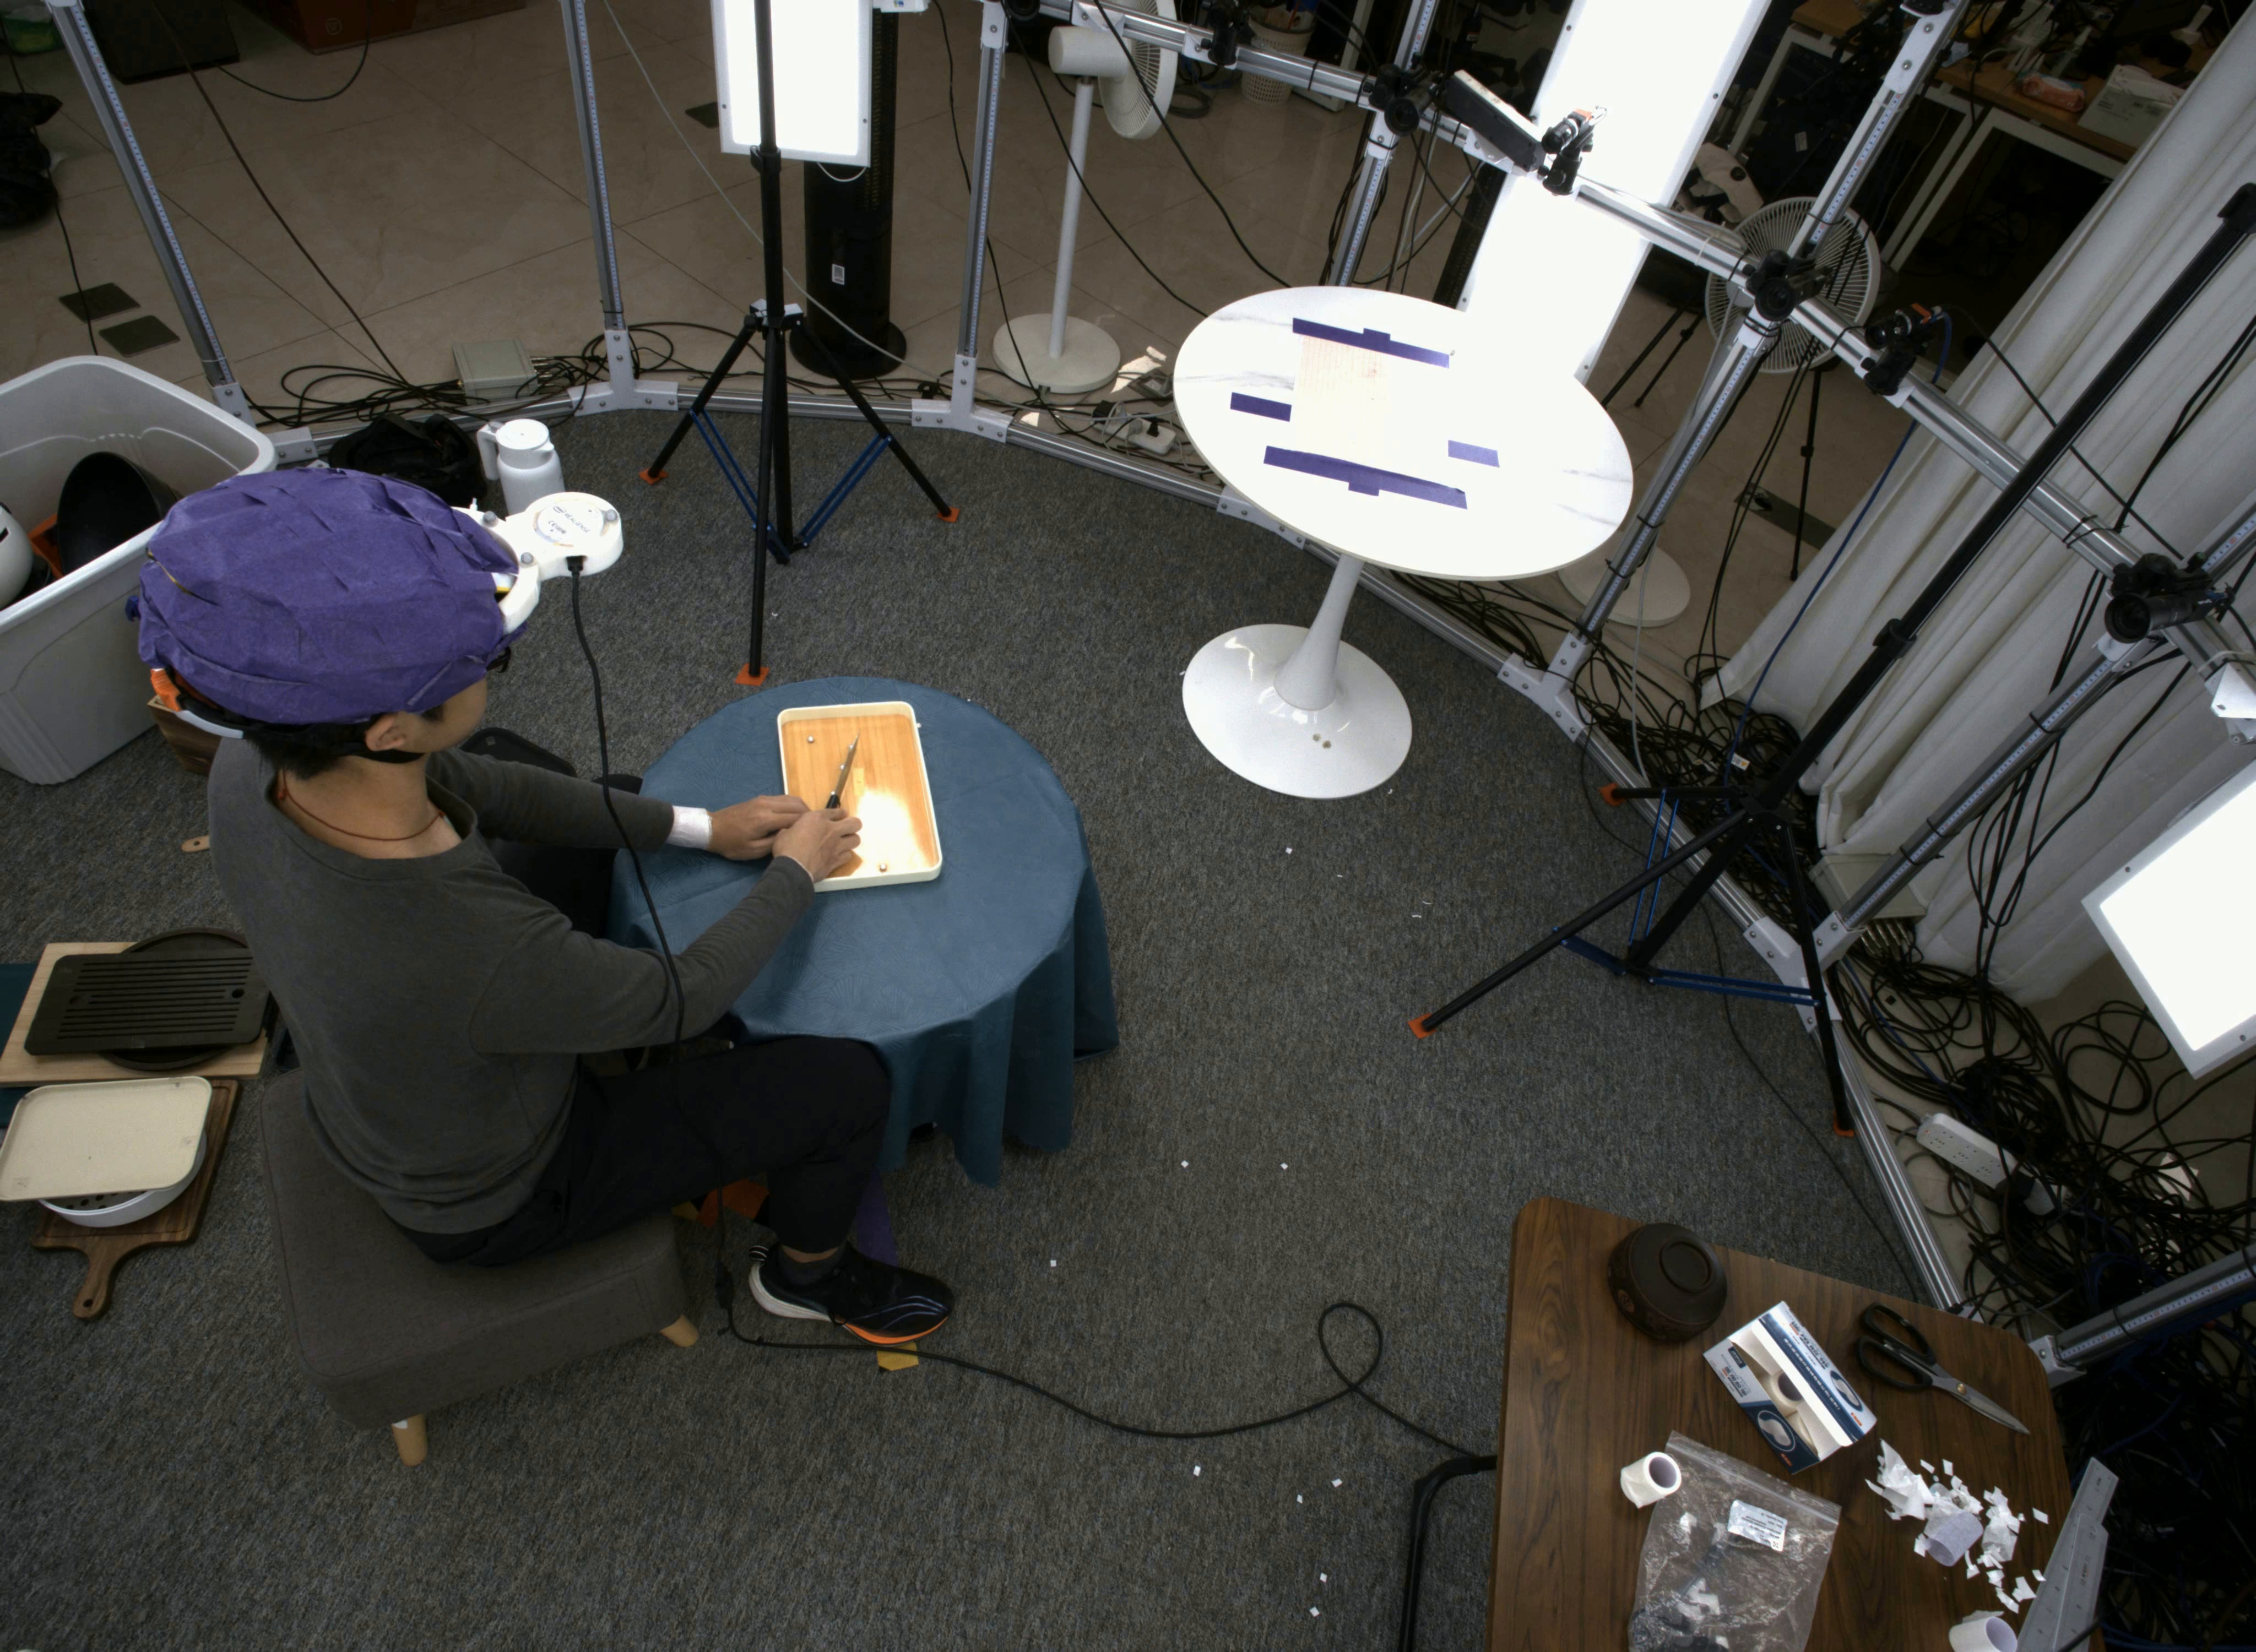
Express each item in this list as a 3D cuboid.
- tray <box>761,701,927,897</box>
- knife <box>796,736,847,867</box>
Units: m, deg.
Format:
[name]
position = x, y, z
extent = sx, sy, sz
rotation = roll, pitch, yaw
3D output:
[tray]
position = -0.388, -0.044, 1.760
extent = 0.192, 0.028, 0.293
rotation = -6, 56, -17
[knife]
position = -0.408, -0.041, 1.741
extent = 0.016, 0.025, 0.234
rotation = 1, 48, 8
